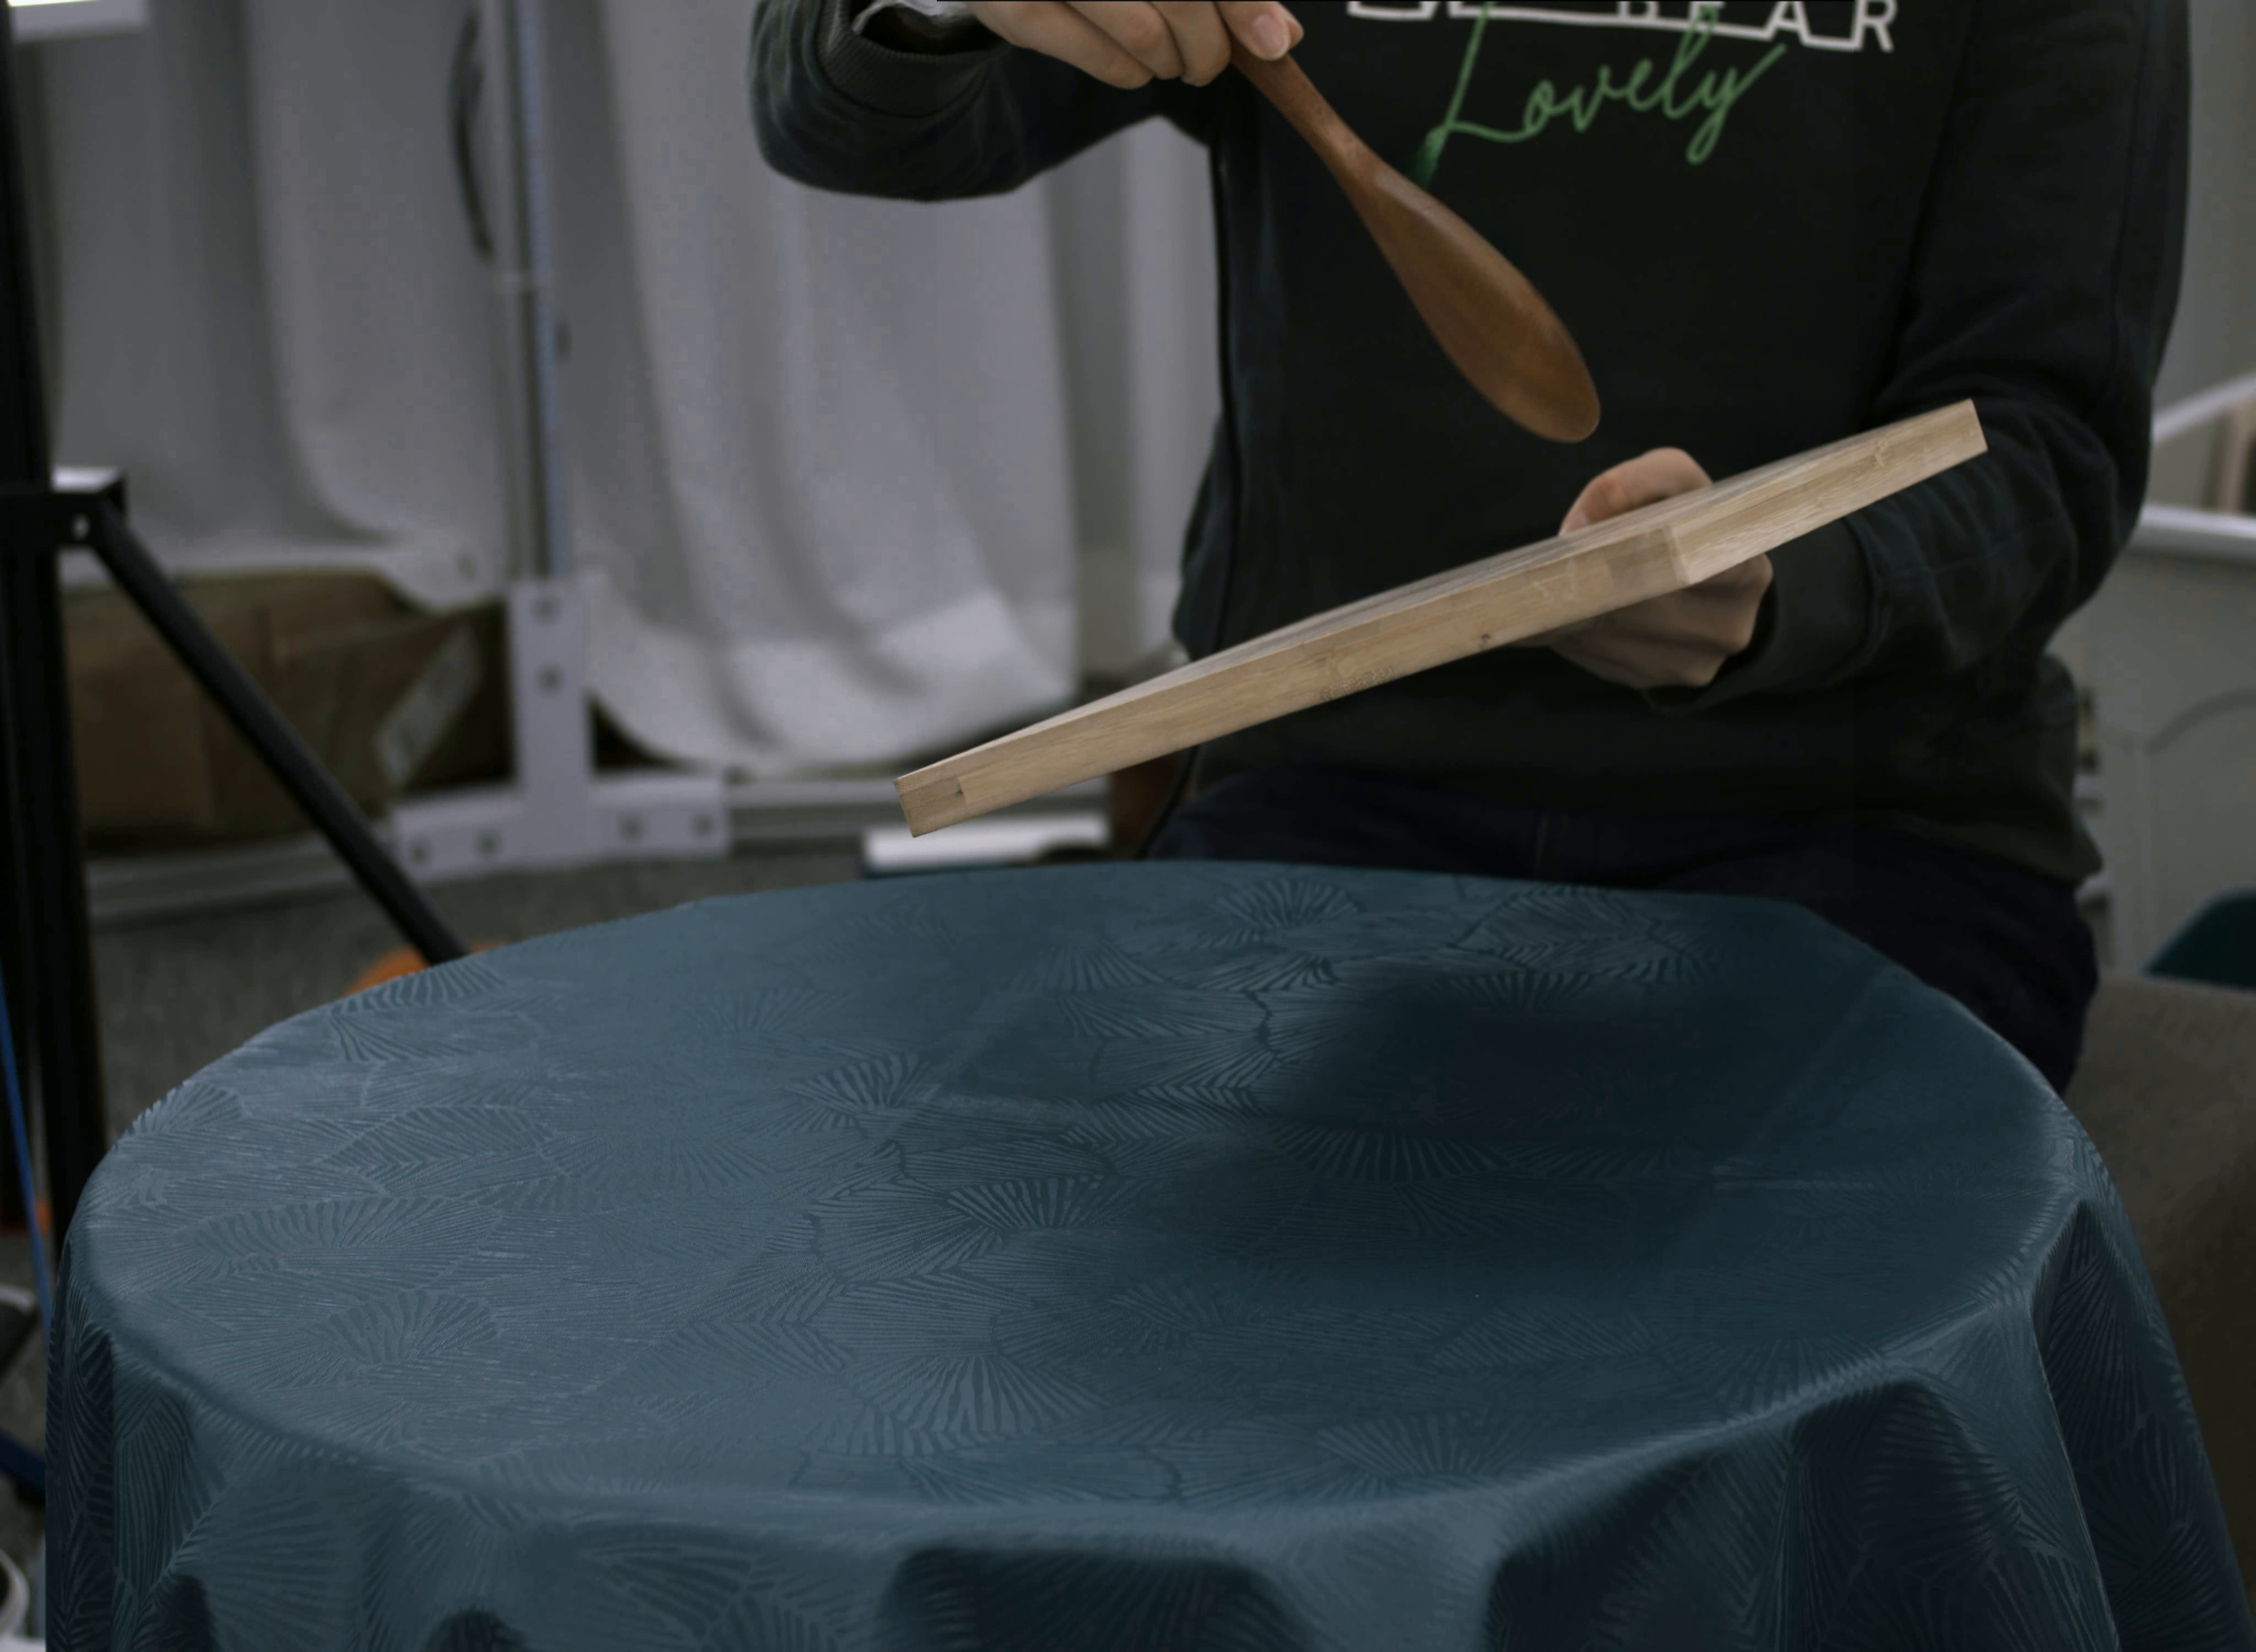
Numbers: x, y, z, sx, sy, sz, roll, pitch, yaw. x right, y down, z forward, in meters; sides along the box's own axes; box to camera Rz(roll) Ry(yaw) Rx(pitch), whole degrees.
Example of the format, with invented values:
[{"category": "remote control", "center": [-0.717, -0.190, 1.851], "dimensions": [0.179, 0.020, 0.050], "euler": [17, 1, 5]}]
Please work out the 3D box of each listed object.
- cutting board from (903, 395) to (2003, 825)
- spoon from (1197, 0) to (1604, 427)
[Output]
[{"category": "cutting board", "center": [0.107, -0.066, 1.585], "dimensions": [0.253, 0.023, 0.343], "euler": [-17, 3, 24]}, {"category": "spoon", "center": [0.071, -0.202, 1.613], "dimensions": [0.017, 0.218, 0.075], "euler": [-37, -11, -8]}]
